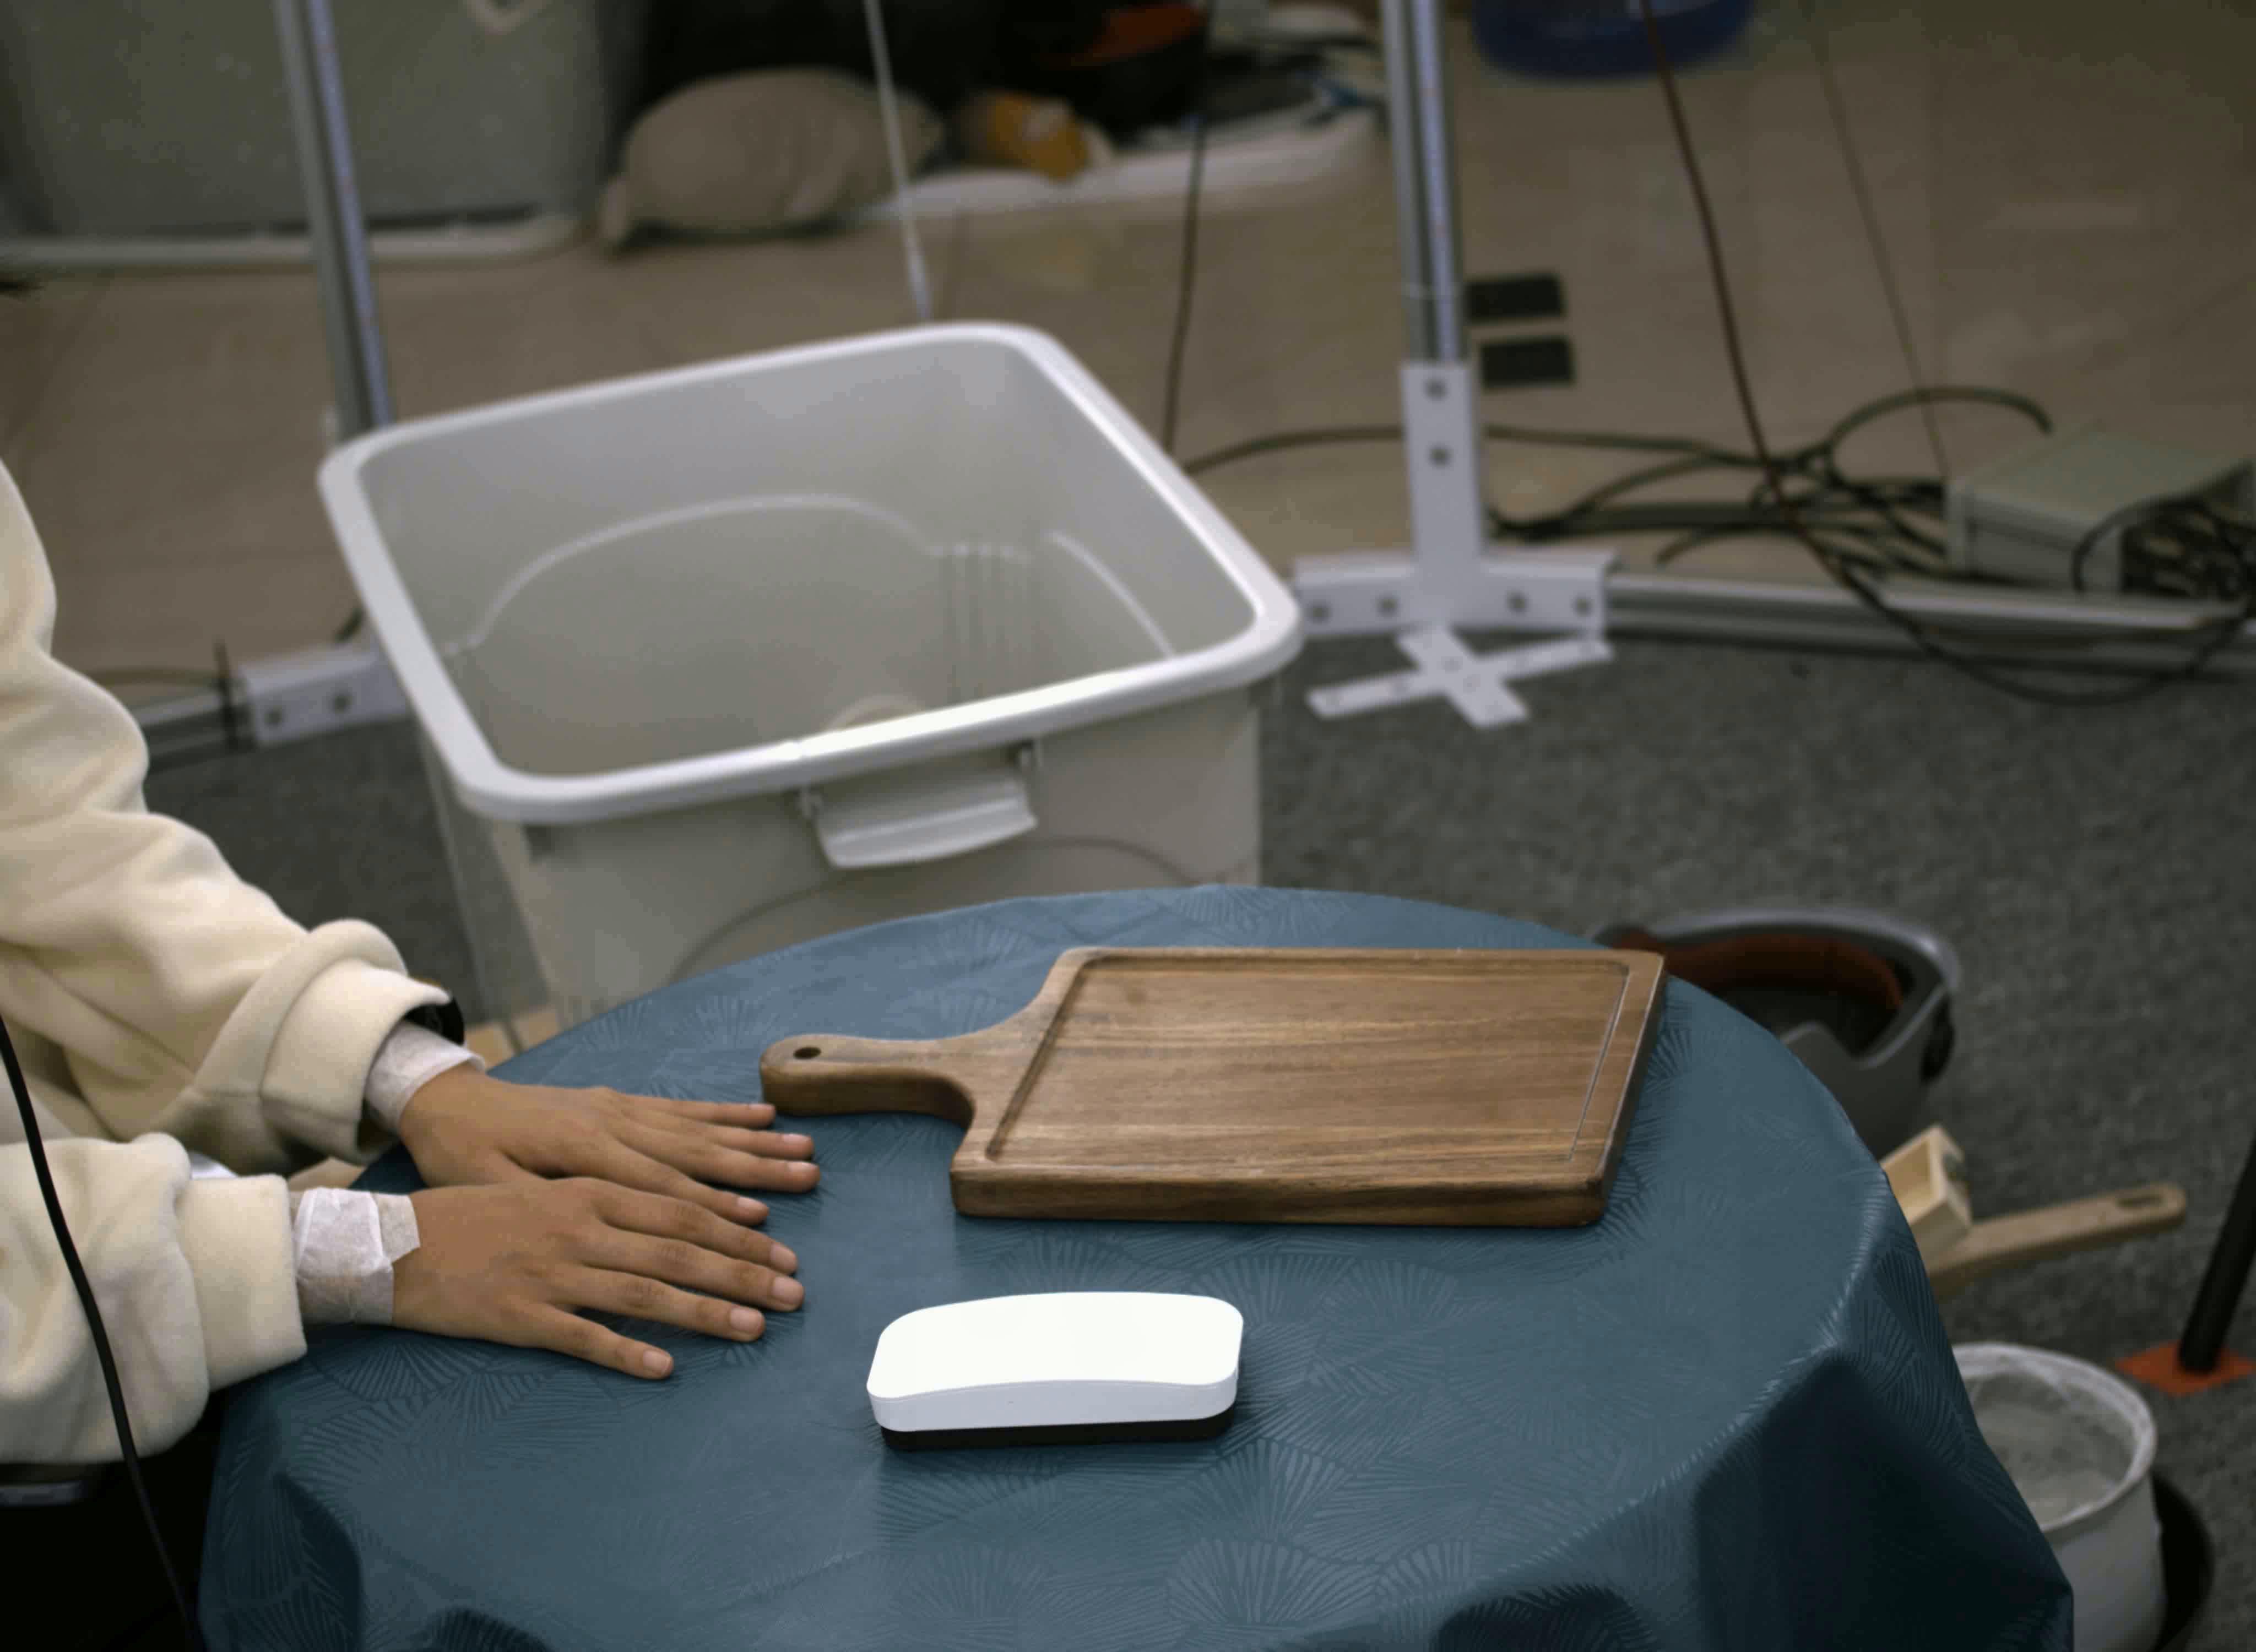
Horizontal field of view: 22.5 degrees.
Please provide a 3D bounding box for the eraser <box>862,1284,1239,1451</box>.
[{"bbox_3d":[-0.026,0.192,2.005,0.131,0.035,0.062,-2,26,9],"label":"eraser"}]

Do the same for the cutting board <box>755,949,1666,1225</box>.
[{"bbox_3d":[0.025,0.098,2.204,0.351,0.023,0.198,0,25,13],"label":"cutting board"}]
